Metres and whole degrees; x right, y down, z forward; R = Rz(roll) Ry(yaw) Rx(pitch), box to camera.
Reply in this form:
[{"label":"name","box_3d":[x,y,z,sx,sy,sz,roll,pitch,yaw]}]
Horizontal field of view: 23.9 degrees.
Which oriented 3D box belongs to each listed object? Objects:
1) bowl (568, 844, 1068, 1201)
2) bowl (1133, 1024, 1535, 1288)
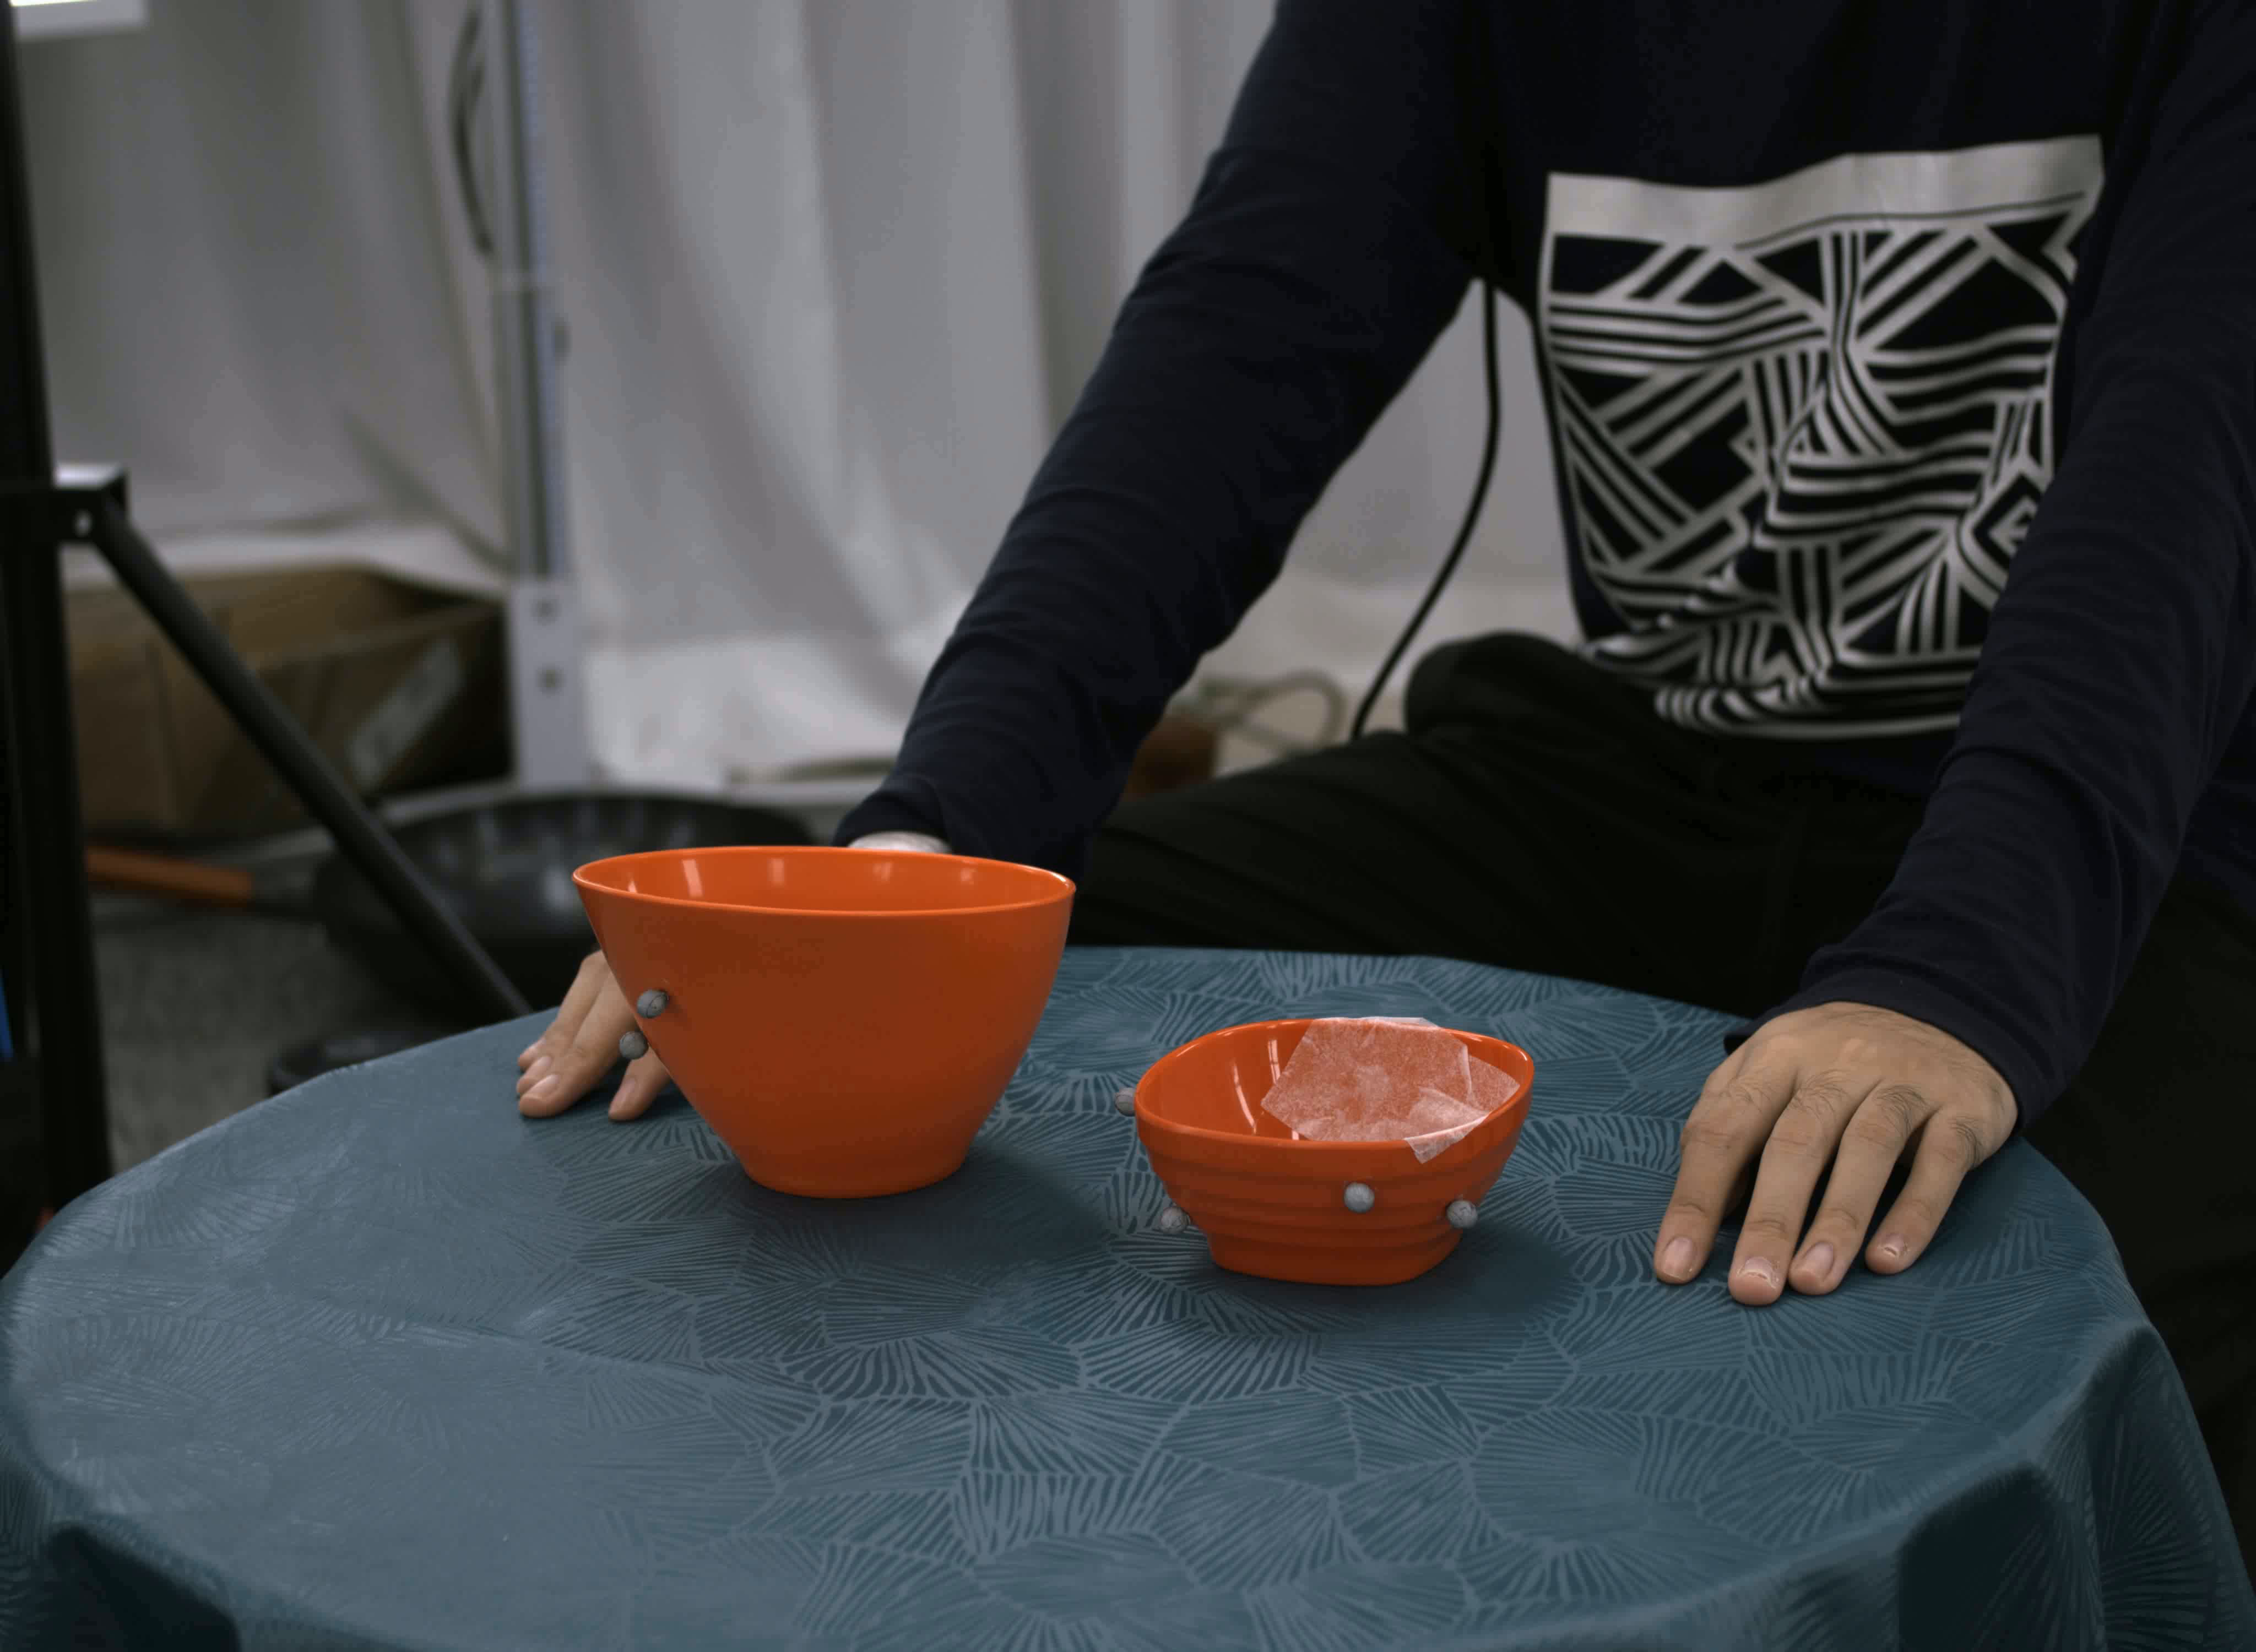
[{"label":"bowl","box_3d":[-0.089,0.055,1.579,0.147,0.104,0.149,-3,15,-1]},{"label":"bowl","box_3d":[0.060,0.096,1.505,0.118,0.051,0.119,-3,14,-1]}]
